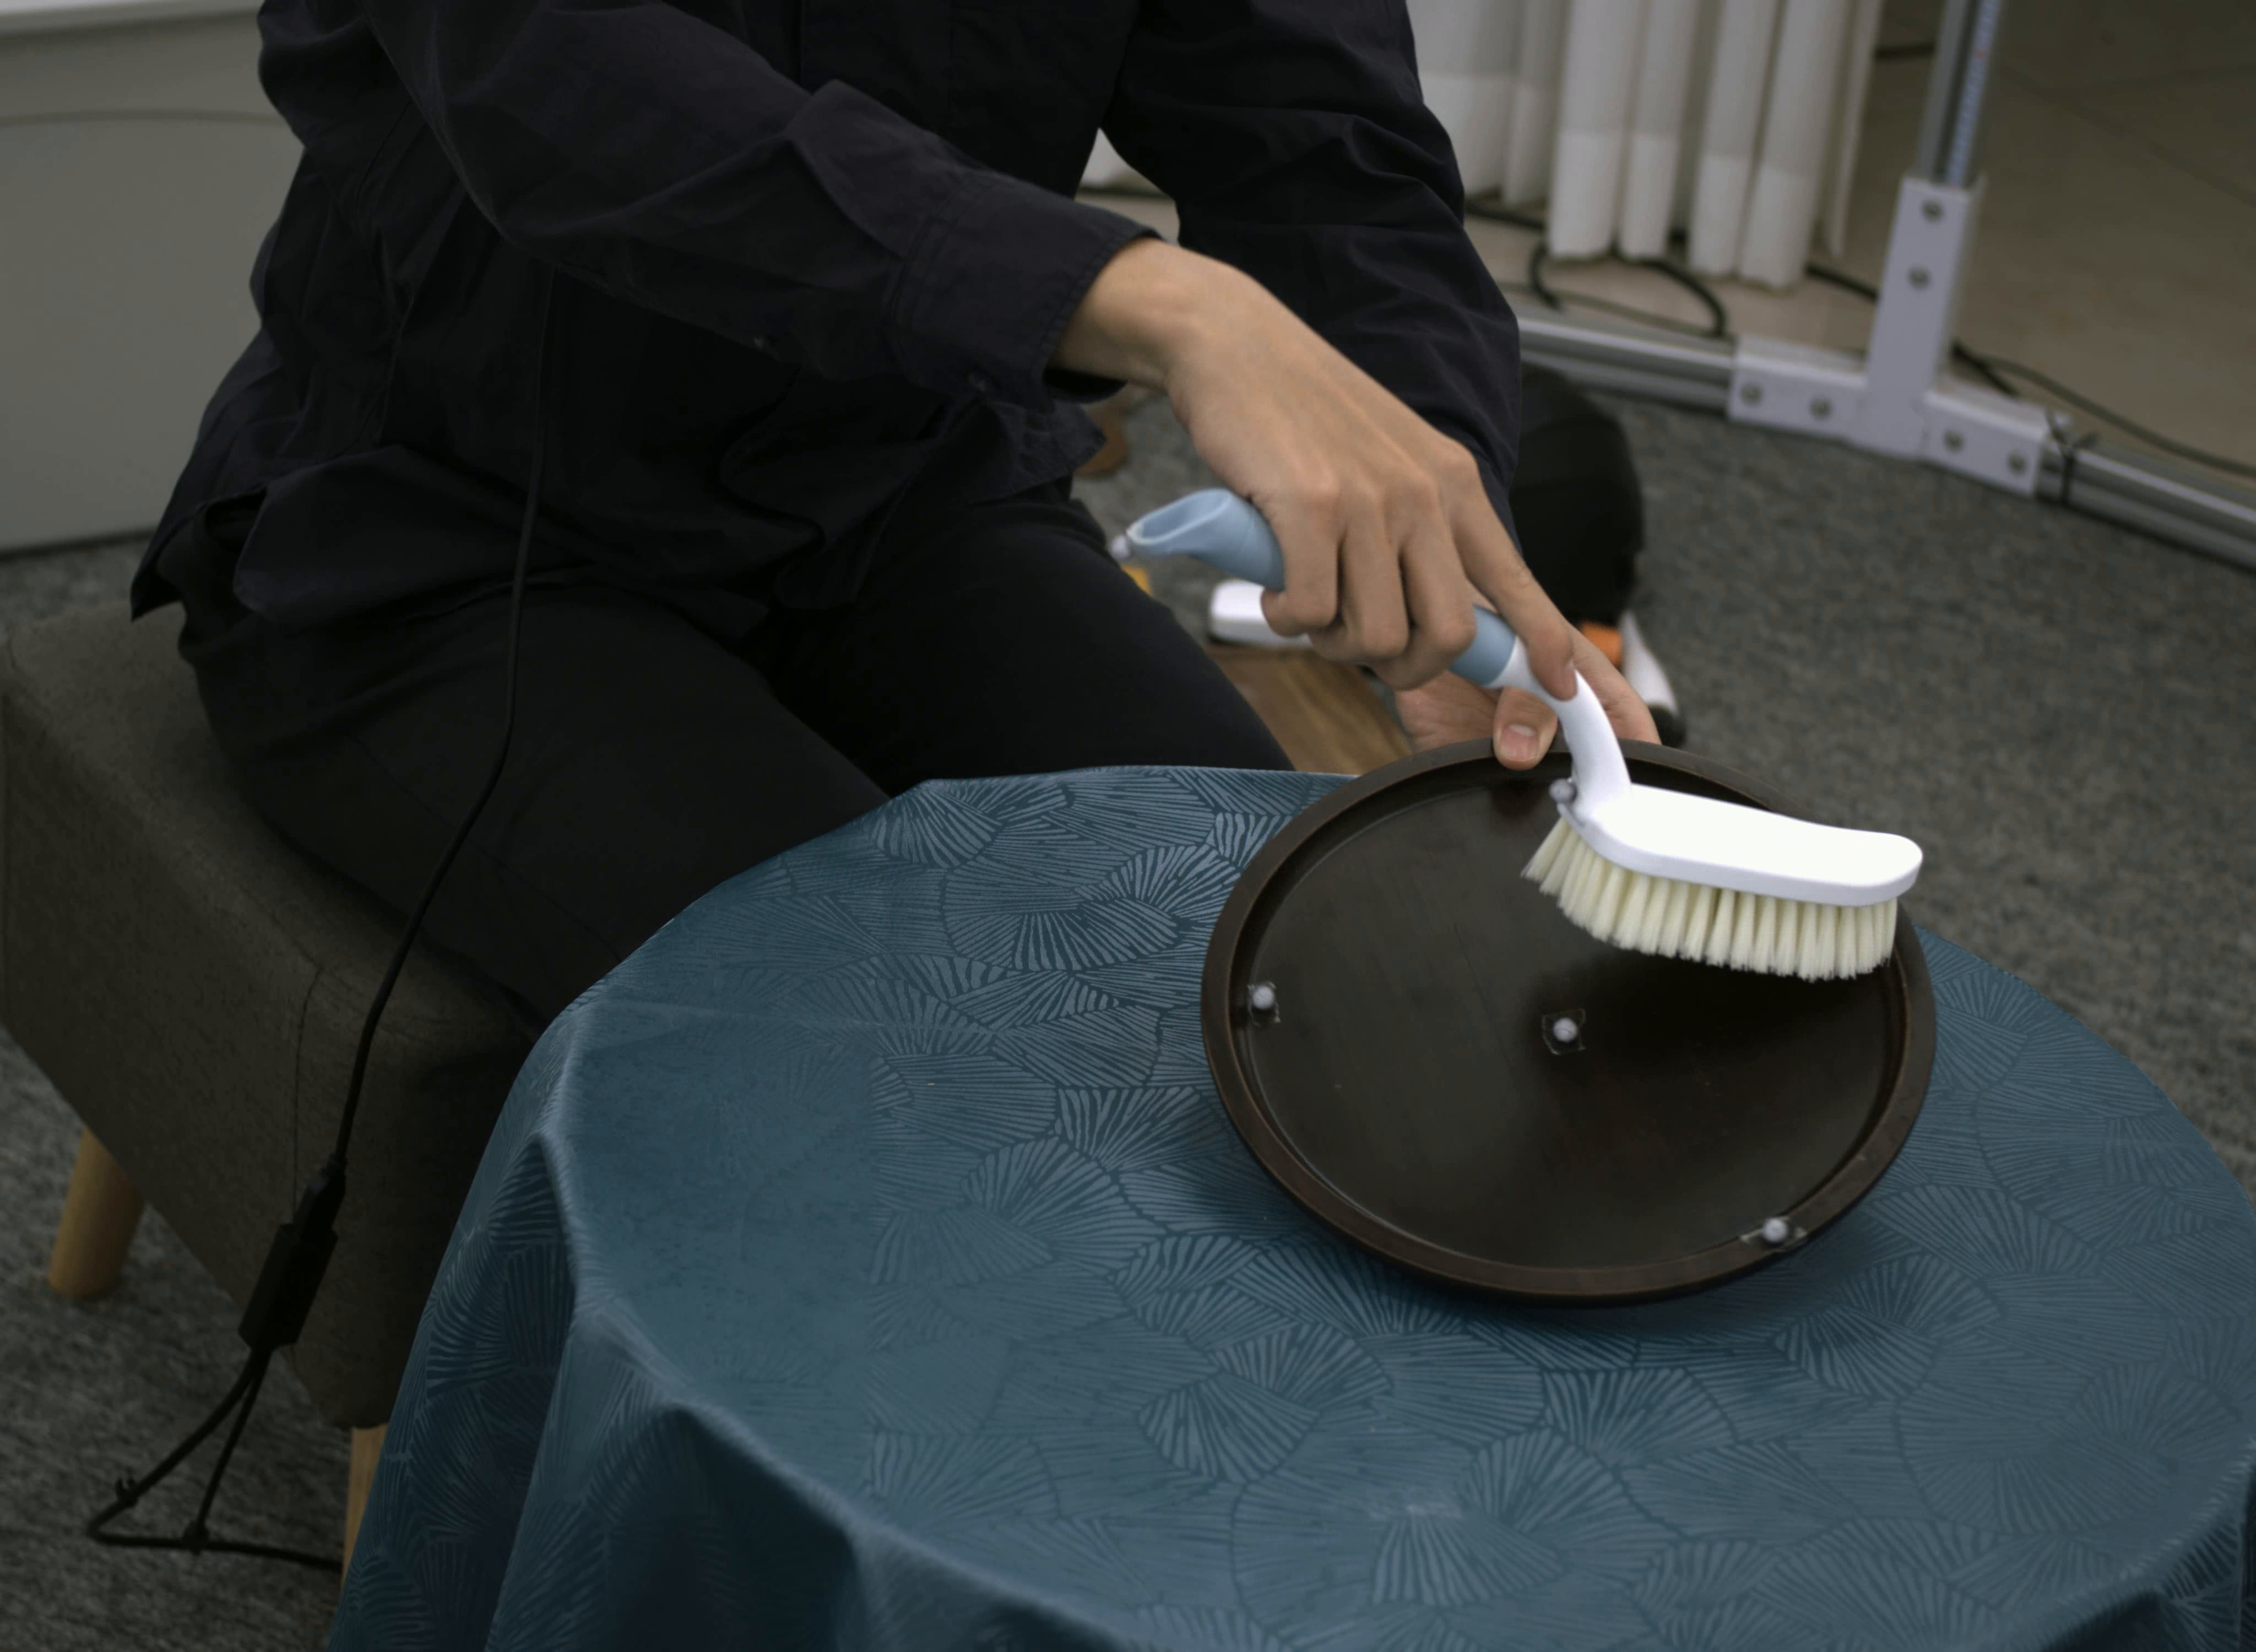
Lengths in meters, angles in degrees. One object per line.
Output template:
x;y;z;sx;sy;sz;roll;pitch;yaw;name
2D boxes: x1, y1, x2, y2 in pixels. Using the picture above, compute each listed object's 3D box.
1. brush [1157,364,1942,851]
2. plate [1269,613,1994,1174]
0.134;-0.057;1.807;0.323;0.083;0.085;23;64;-24;brush
0.175;0.022;1.860;0.254;0.029;0.257;-2;48;2;plate
